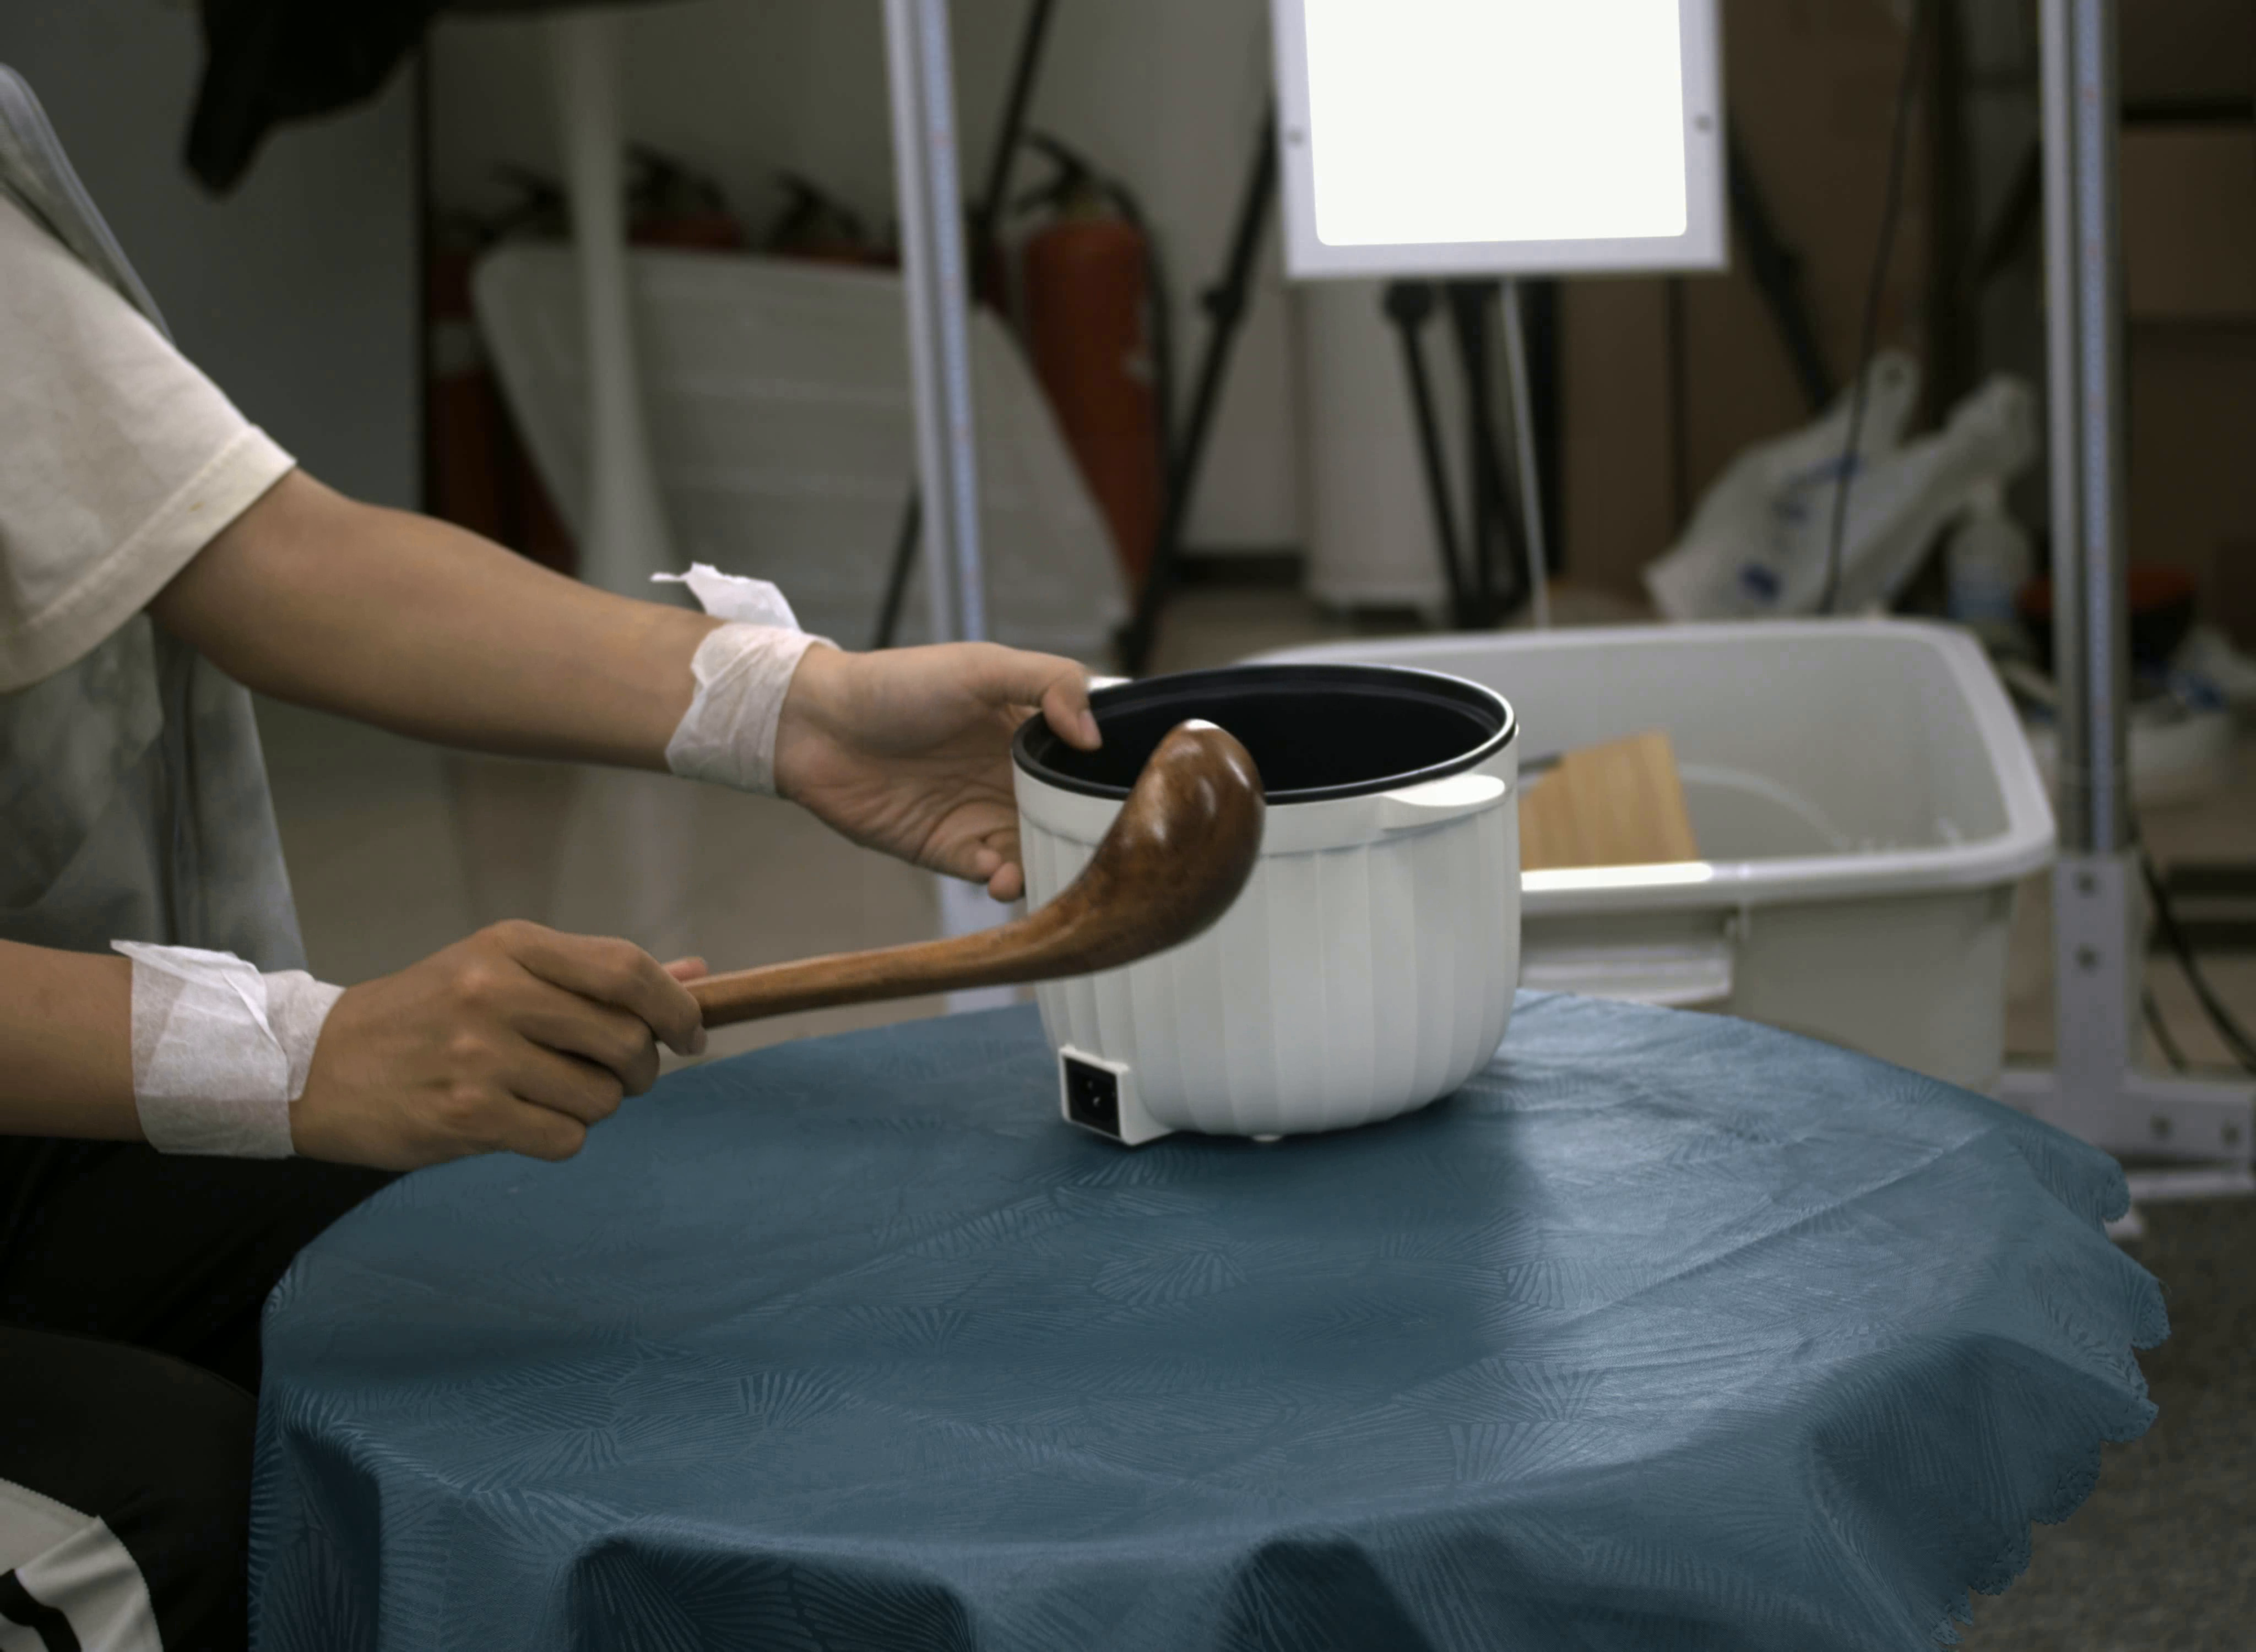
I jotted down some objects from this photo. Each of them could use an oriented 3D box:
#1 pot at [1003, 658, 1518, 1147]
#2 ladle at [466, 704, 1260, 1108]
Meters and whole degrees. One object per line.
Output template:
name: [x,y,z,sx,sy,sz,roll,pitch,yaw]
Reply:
pot: [0.055,0.026,1.982,0.186,0.143,0.245,-19,23,-33]
ladle: [-0.088,0.025,1.811,0.275,0.081,0.076,-13,51,7]
